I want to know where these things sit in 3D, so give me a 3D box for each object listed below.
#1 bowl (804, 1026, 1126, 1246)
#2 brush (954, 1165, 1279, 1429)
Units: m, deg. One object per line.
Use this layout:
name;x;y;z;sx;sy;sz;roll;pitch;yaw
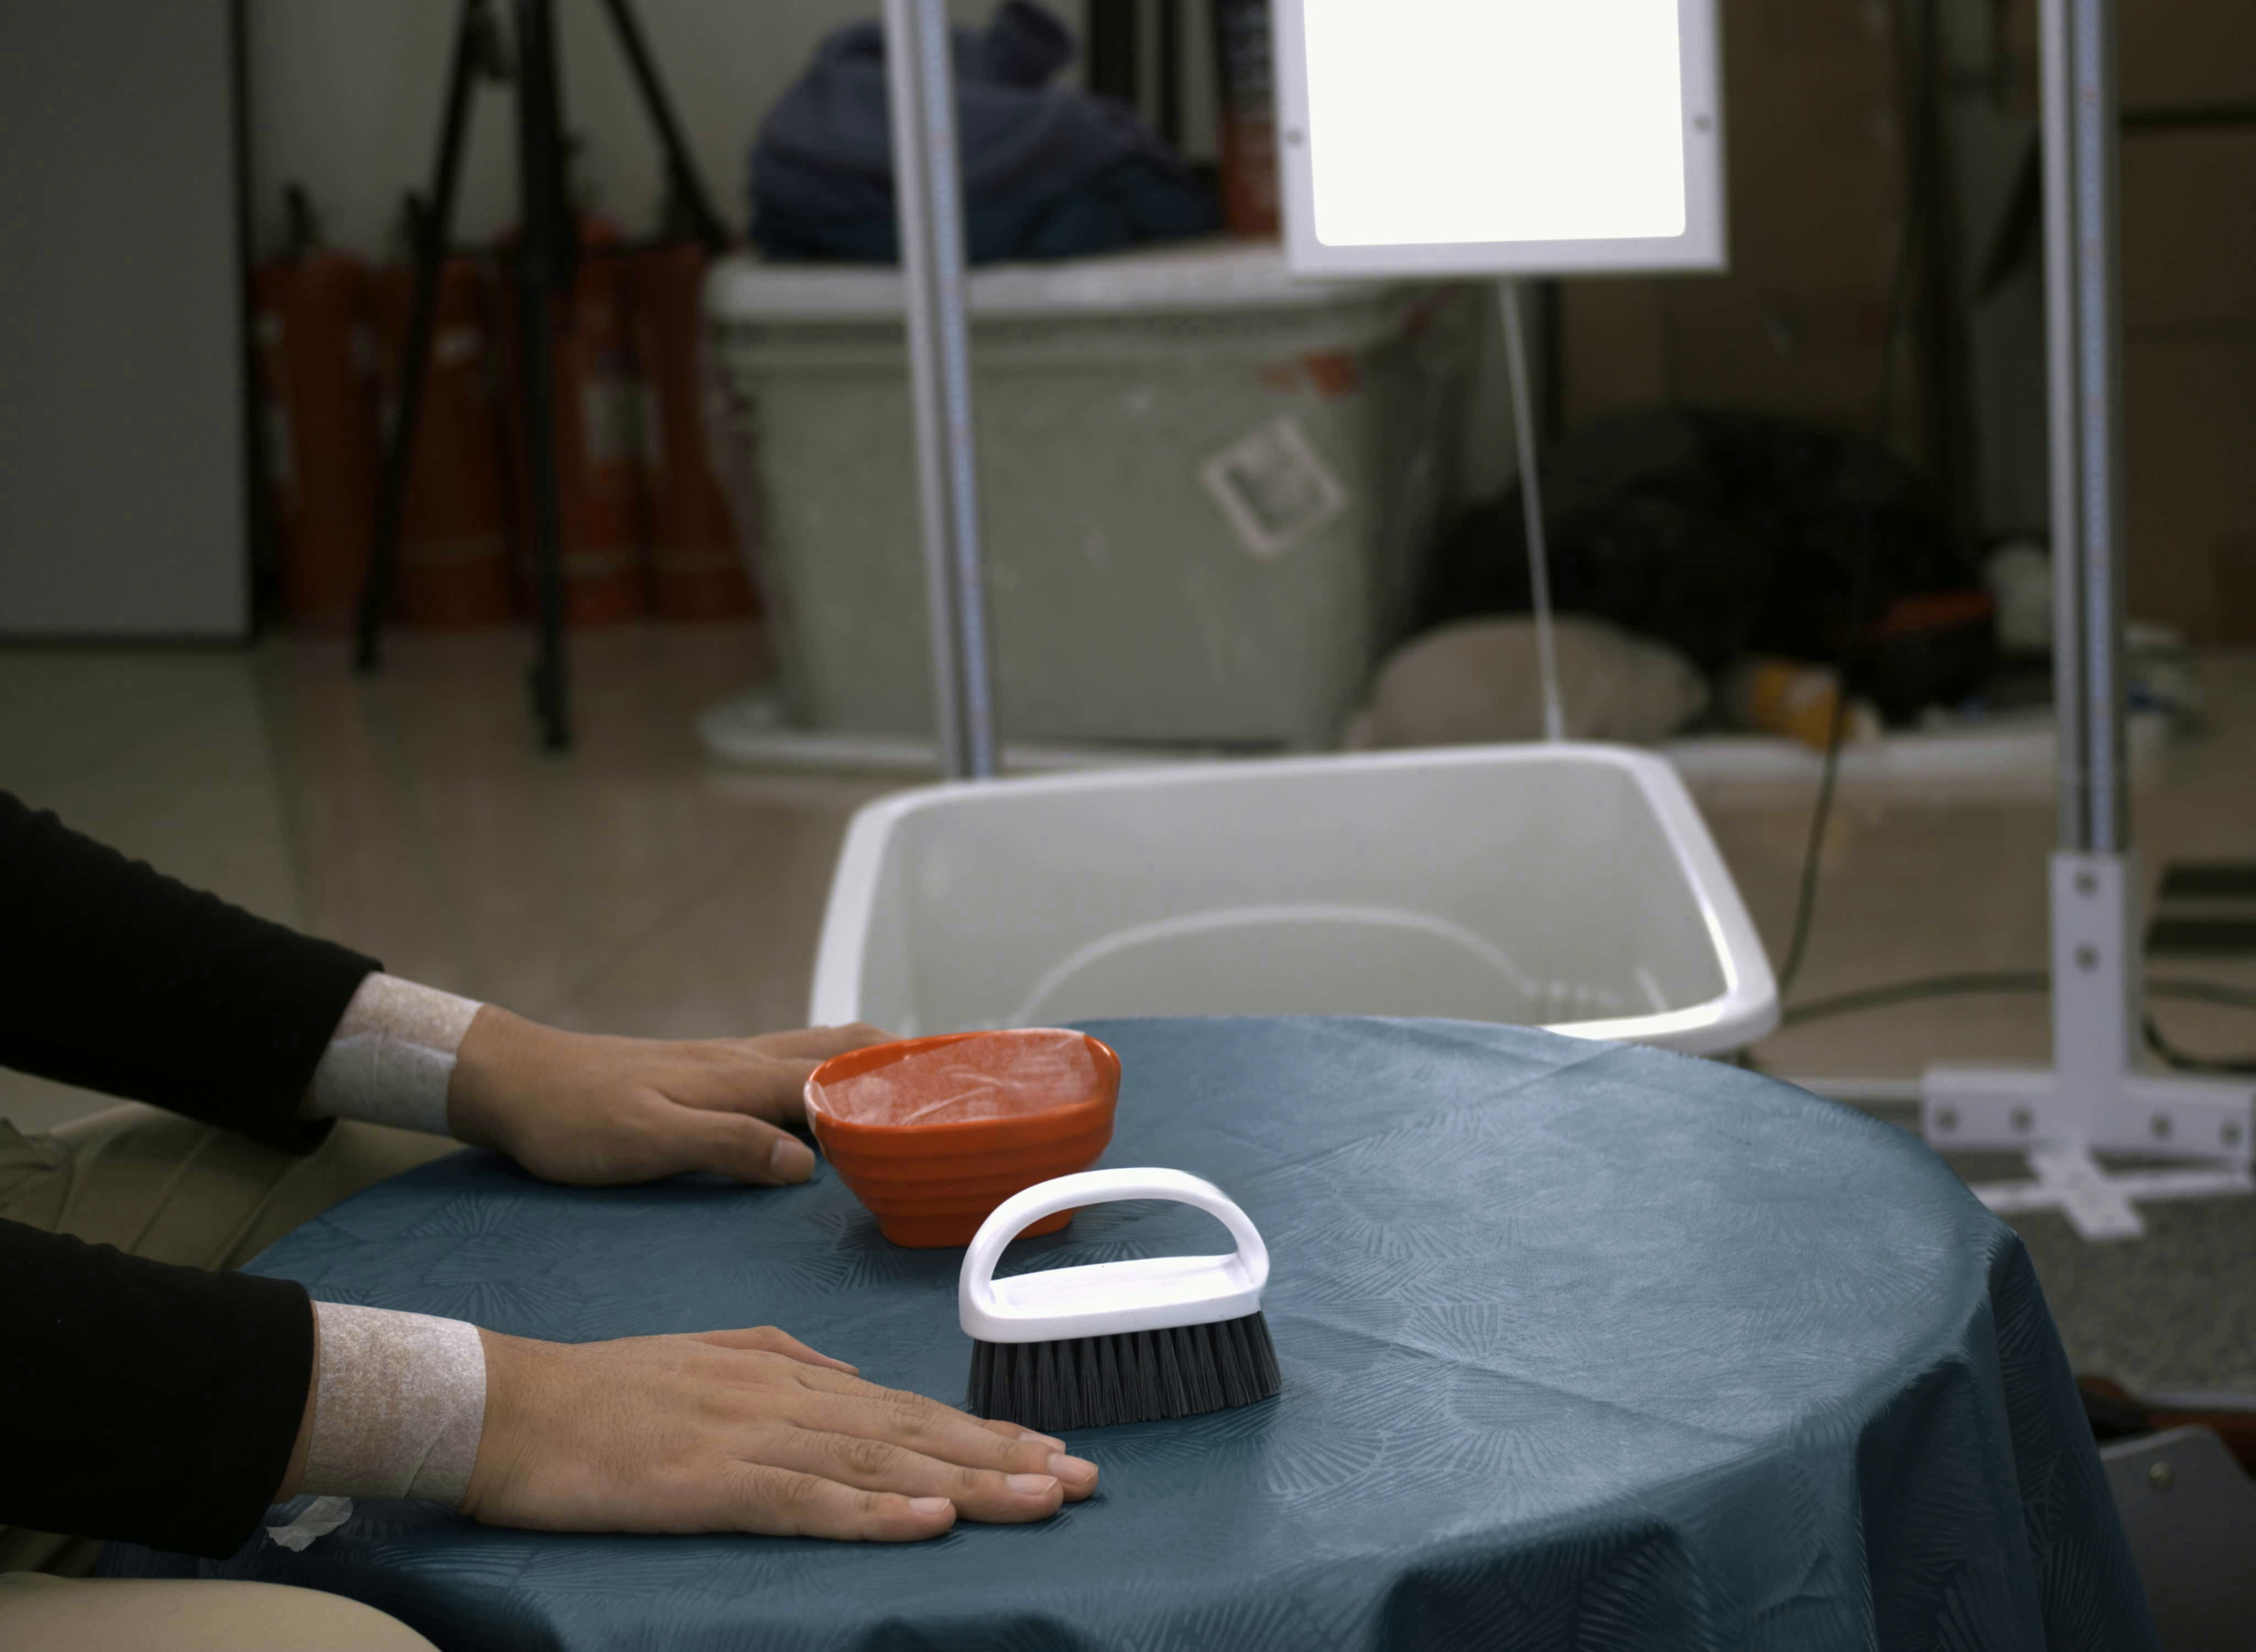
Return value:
bowl;-0.054;0.108;1.882;0.118;0.051;0.119;-3;15;0
brush;-0.005;0.140;1.688;0.099;0.073;0.050;-5;14;-2
